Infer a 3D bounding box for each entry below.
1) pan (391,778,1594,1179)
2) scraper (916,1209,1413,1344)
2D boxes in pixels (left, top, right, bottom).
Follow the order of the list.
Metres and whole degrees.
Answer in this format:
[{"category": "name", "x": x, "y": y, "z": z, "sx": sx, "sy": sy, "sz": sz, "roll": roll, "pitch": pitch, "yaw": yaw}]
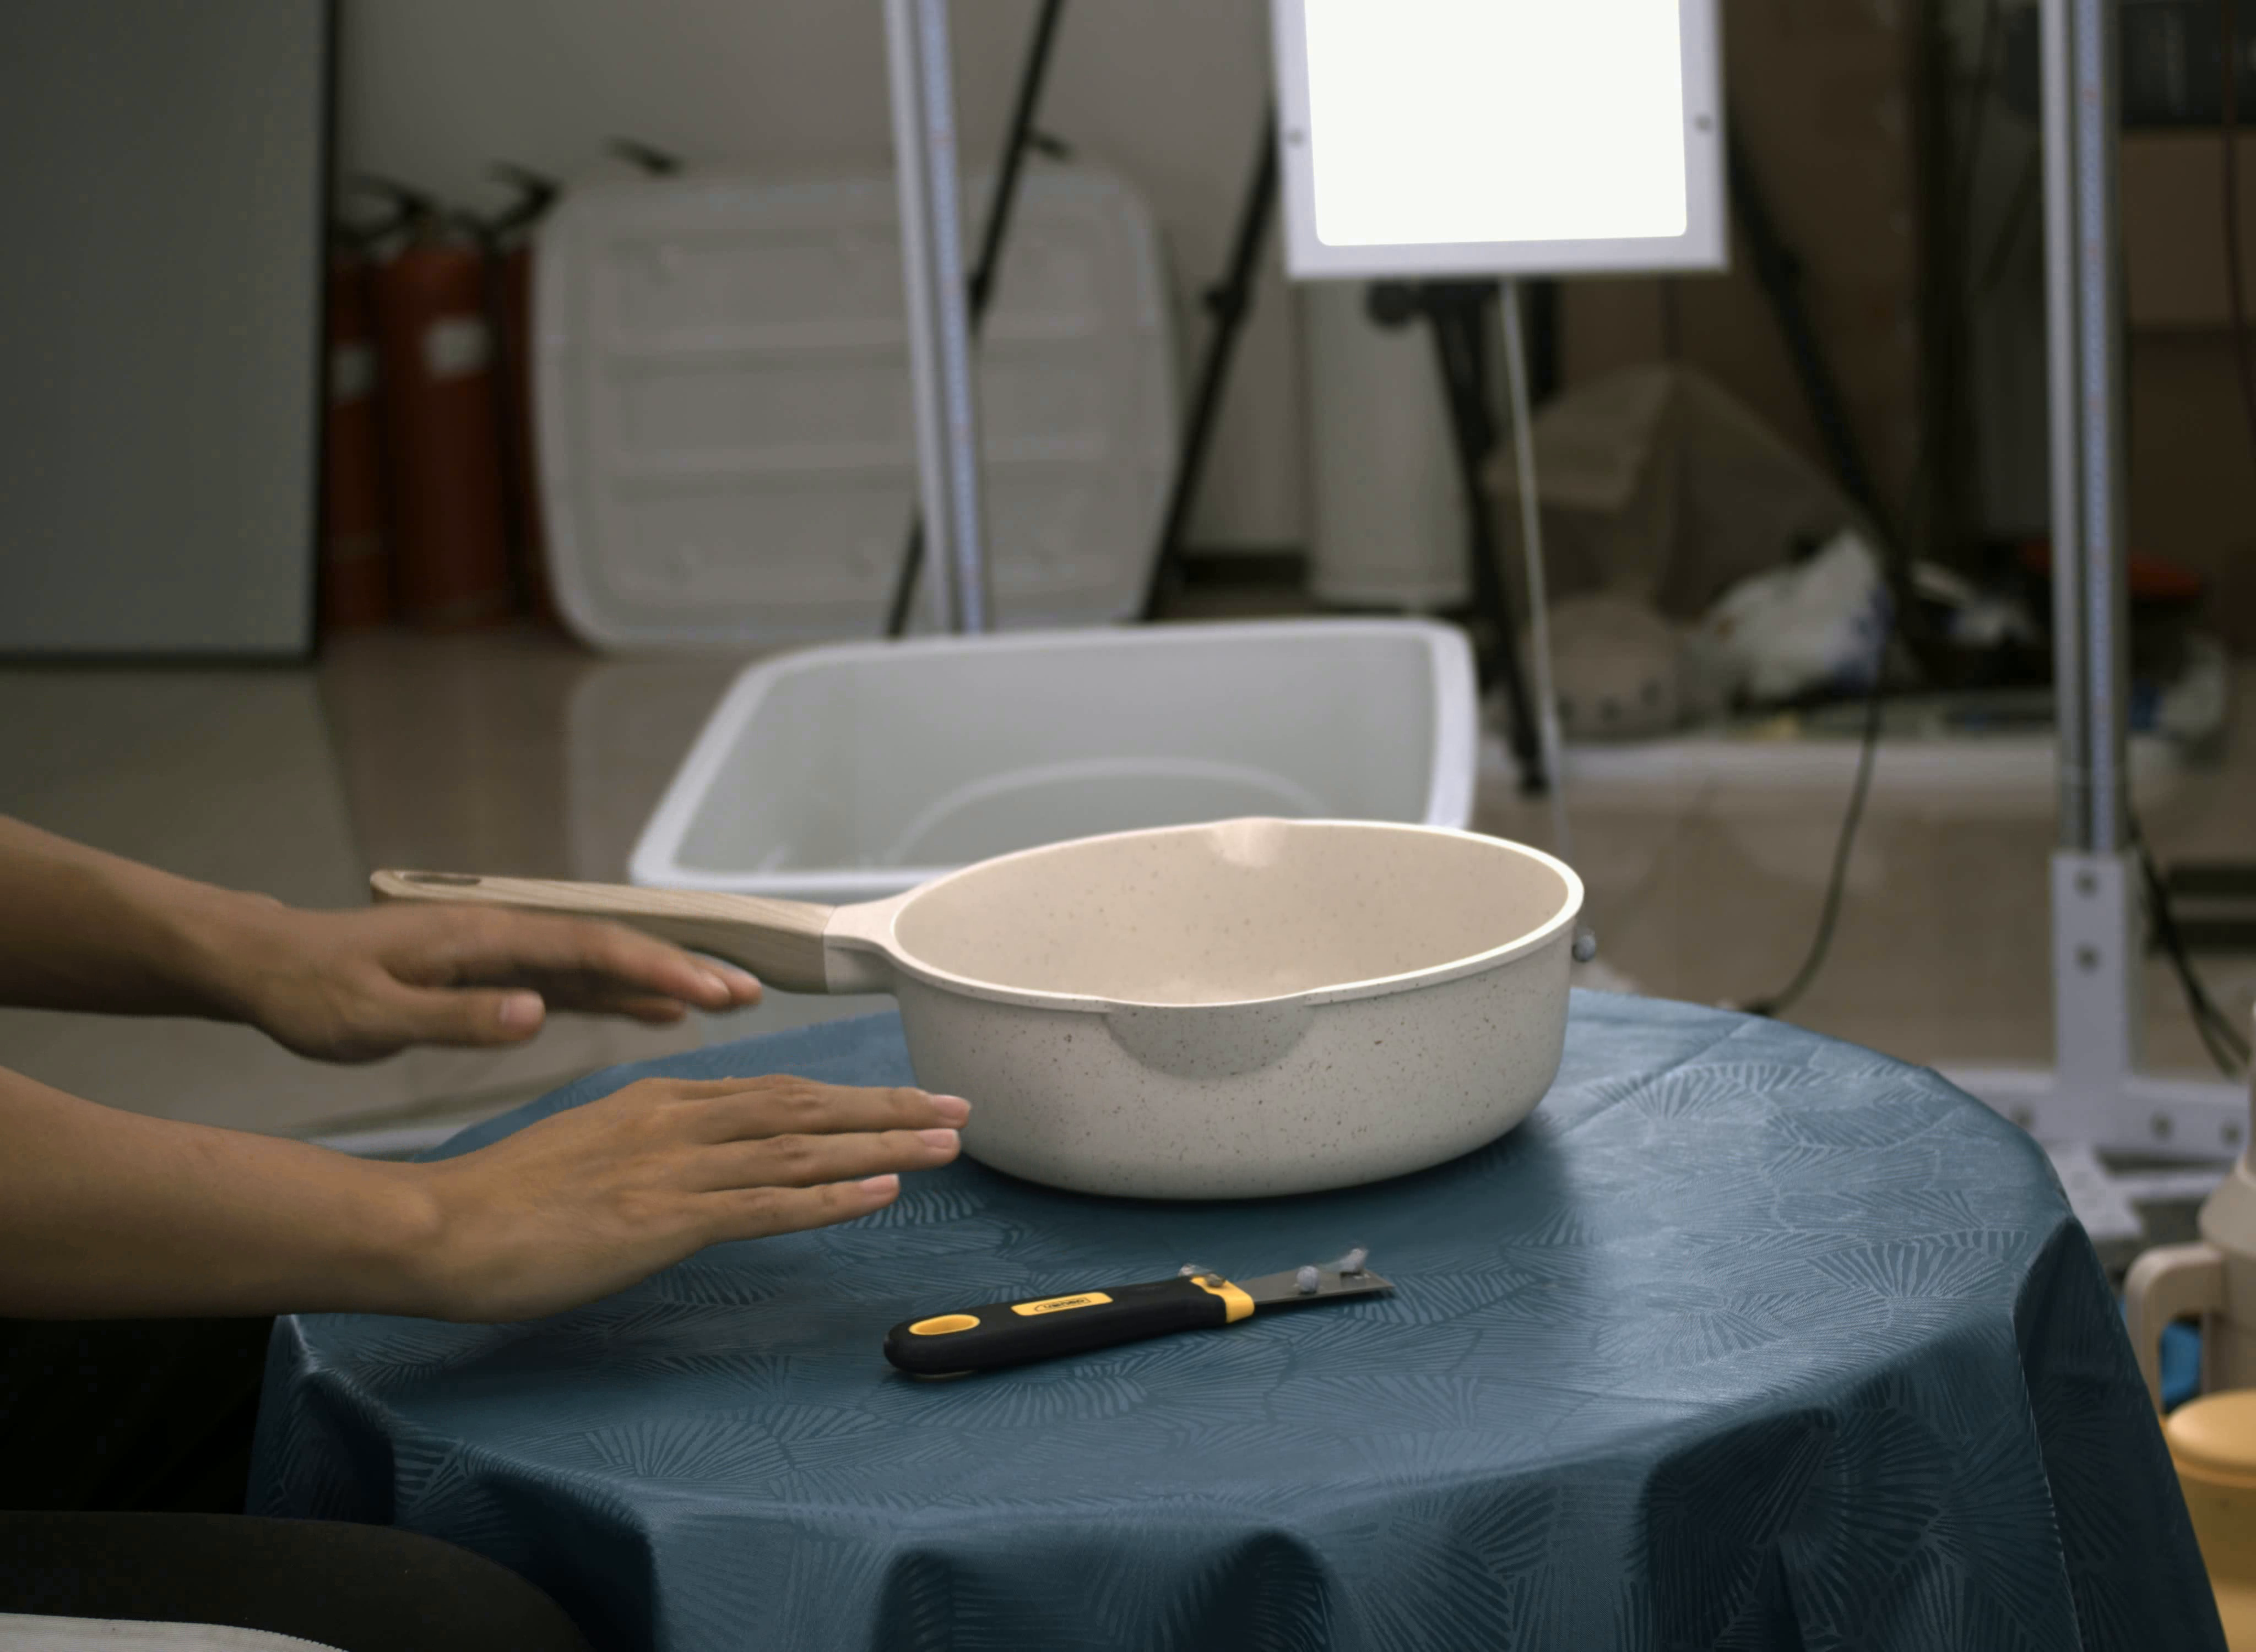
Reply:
[{"category": "pan", "x": -0.047, "y": 0.054, "z": 1.989, "sx": 0.436, "sy": 0.102, "sz": 0.261, "roll": -3, "pitch": 16, "yaw": 7}, {"category": "scraper", "x": 0.011, "y": 0.144, "z": 1.763, "sx": 0.167, "sy": 0.015, "sz": 0.039, "roll": -8, "pitch": 18, "yaw": -23}]
